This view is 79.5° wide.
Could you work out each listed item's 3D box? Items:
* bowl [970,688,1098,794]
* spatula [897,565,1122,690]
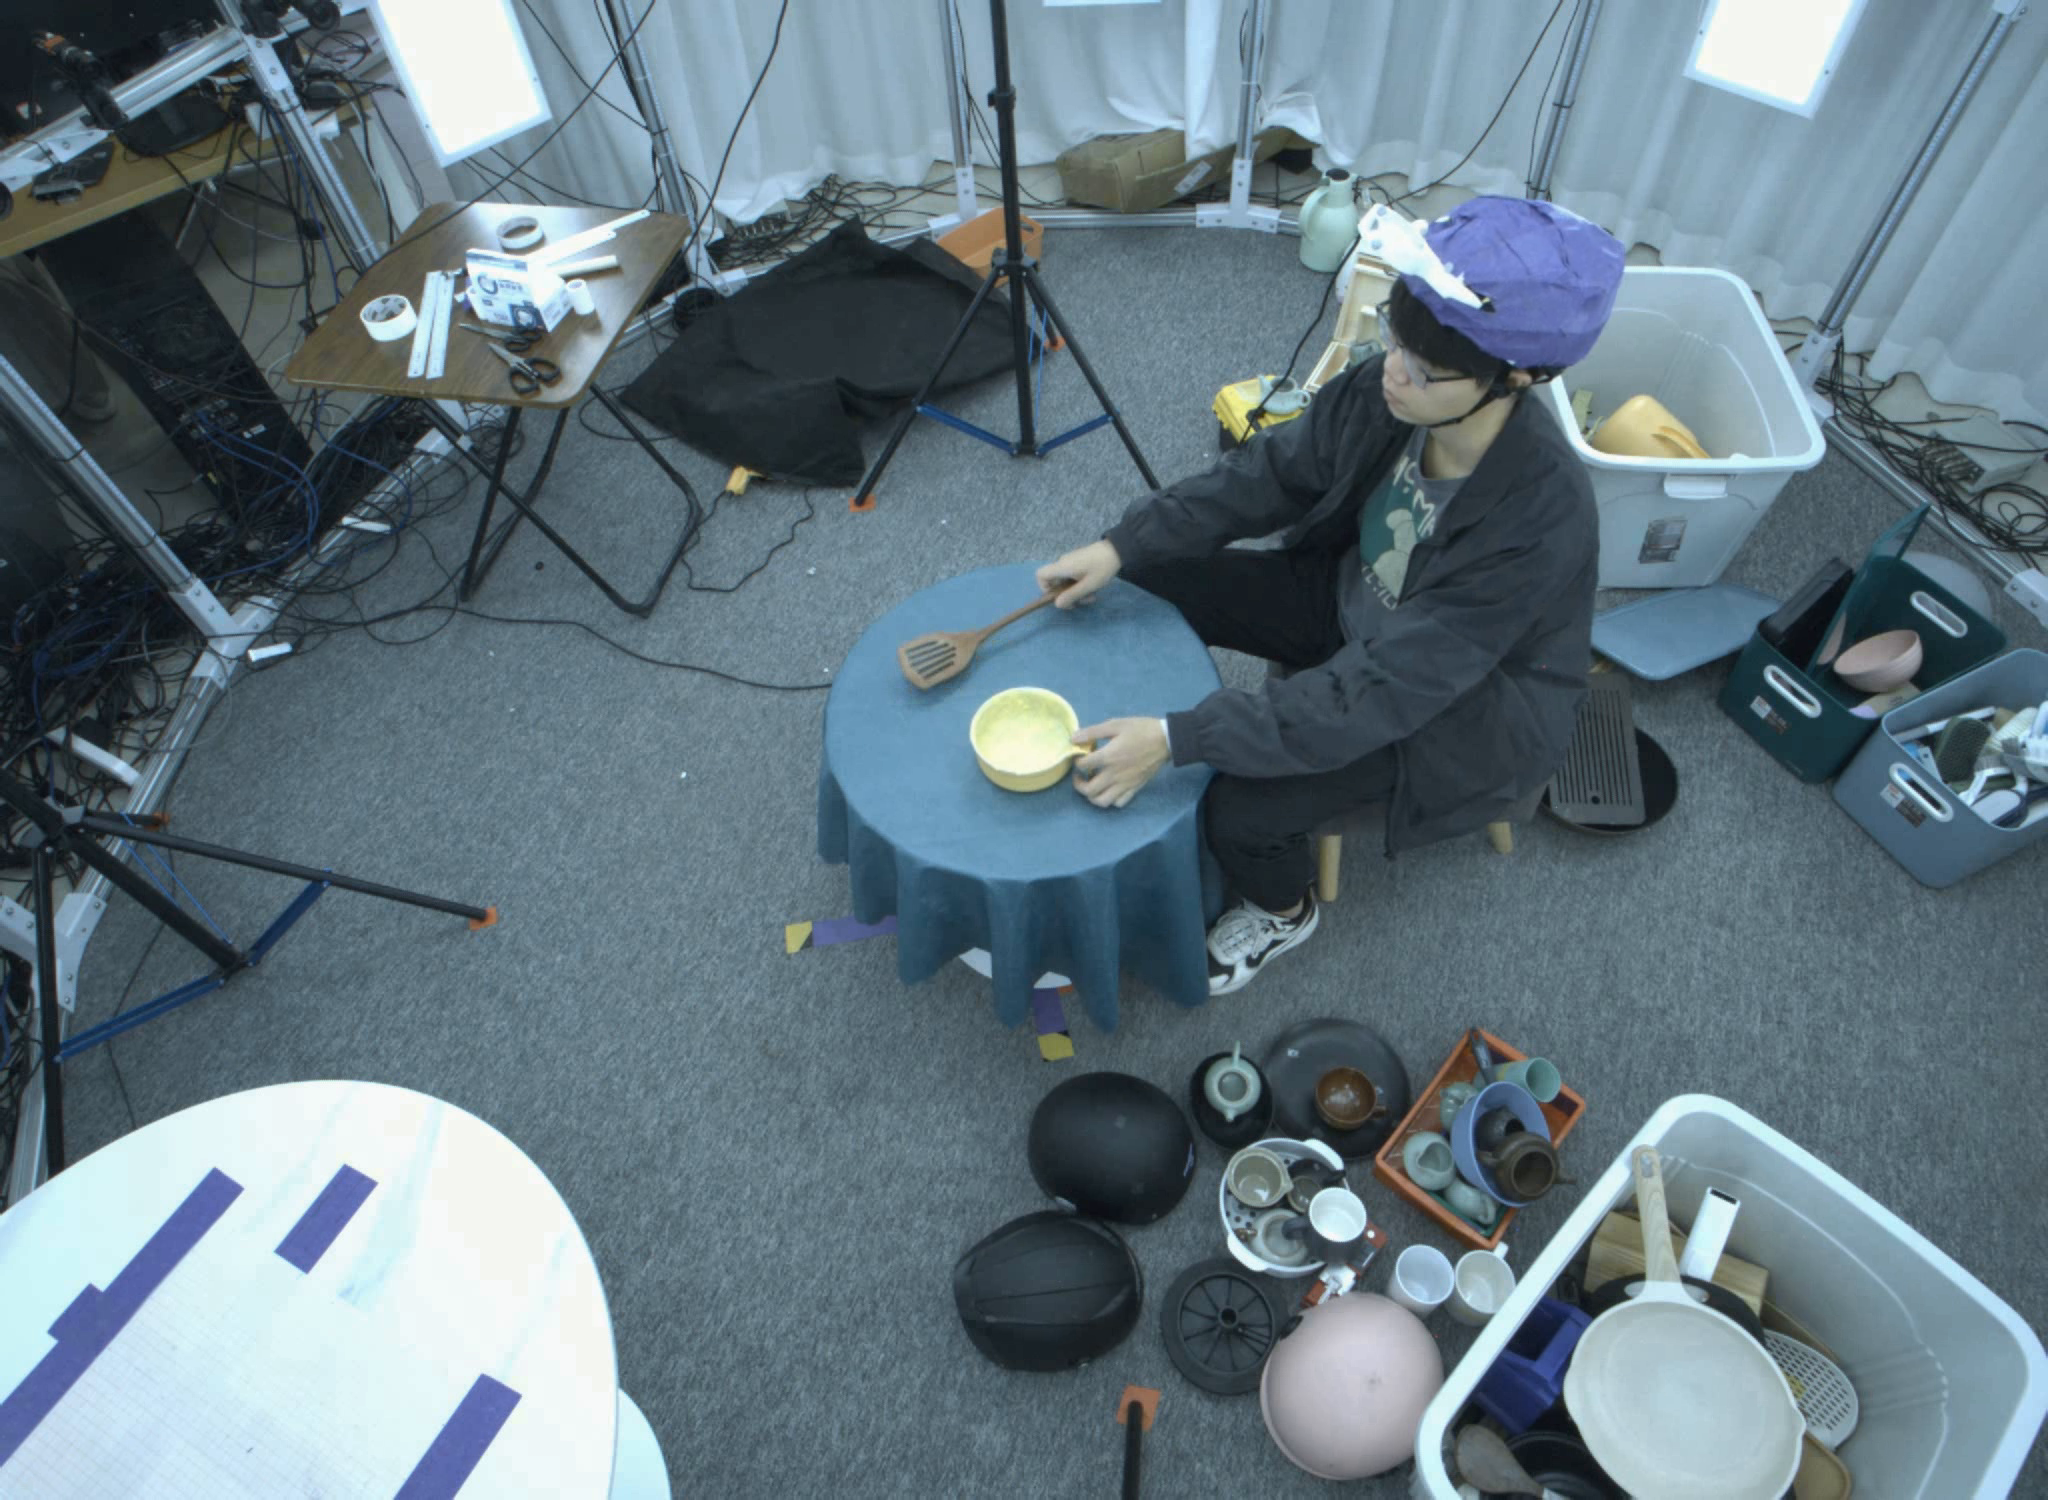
[{"bbox_3d":[0.016,-0.005,1.744,0.178,0.075,0.152,8,56,9],"label":"bowl"},{"bbox_3d":[-0.015,-0.199,1.883,0.389,0.024,0.084,-28,72,-15],"label":"spatula"}]
